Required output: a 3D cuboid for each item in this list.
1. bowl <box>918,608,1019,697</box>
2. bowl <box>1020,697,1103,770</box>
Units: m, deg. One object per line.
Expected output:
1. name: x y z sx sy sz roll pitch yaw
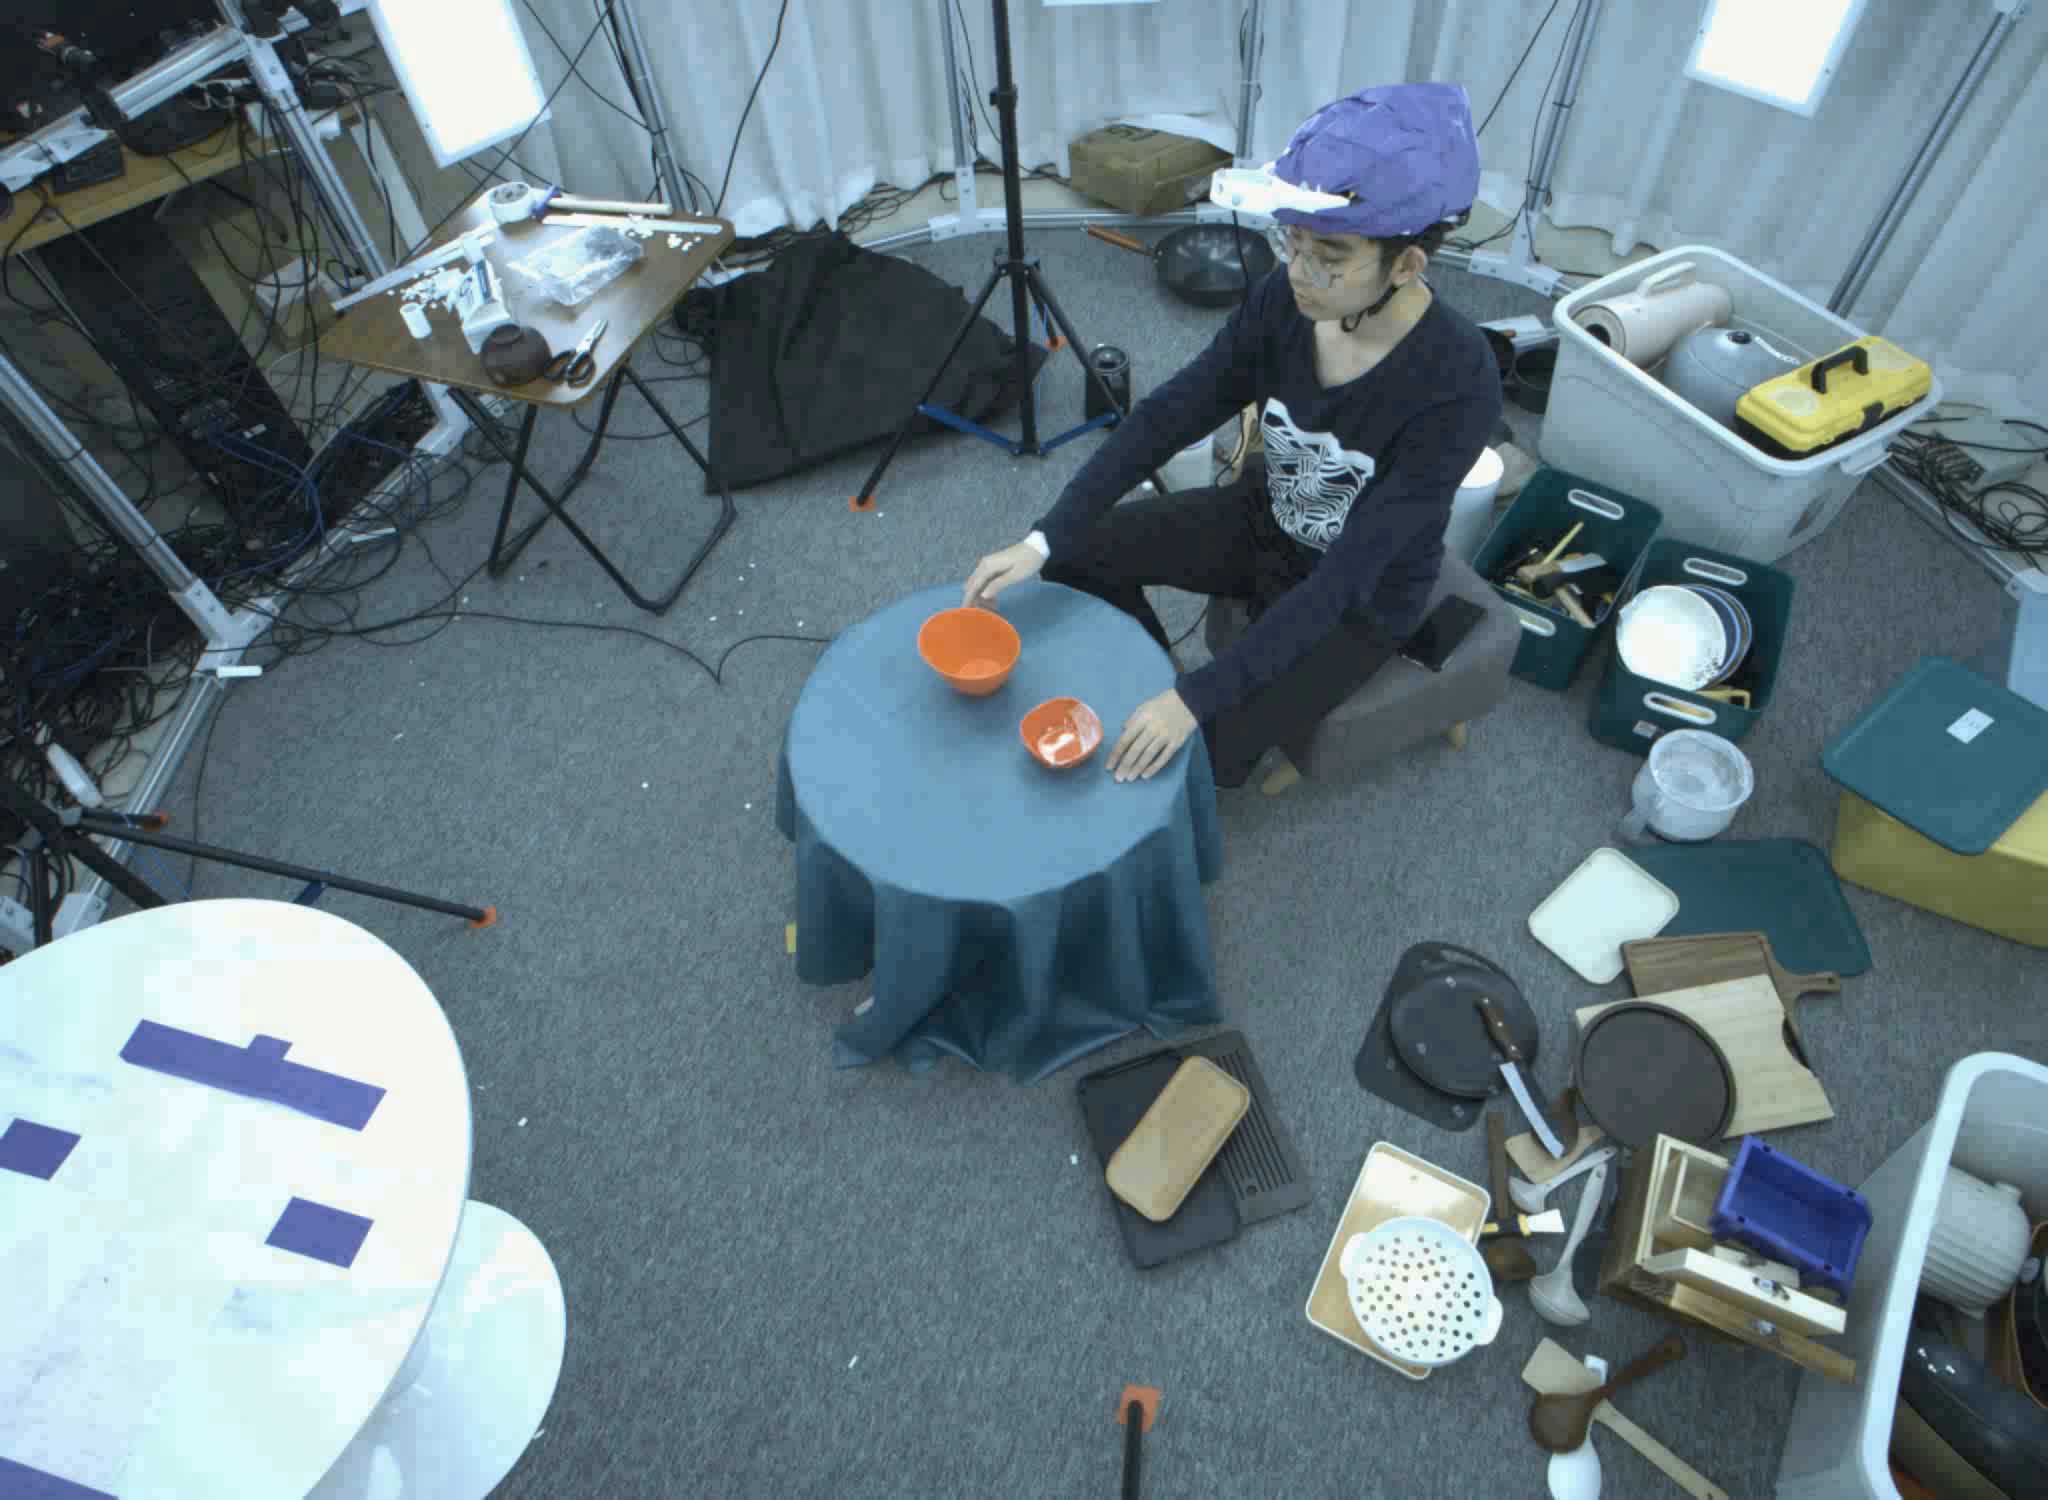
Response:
1. bowl: -0.080 -0.133 1.832 0.148 0.106 0.146 0 53 1
2. bowl: 0.054 -0.016 1.774 0.119 0.052 0.117 -1 53 2
